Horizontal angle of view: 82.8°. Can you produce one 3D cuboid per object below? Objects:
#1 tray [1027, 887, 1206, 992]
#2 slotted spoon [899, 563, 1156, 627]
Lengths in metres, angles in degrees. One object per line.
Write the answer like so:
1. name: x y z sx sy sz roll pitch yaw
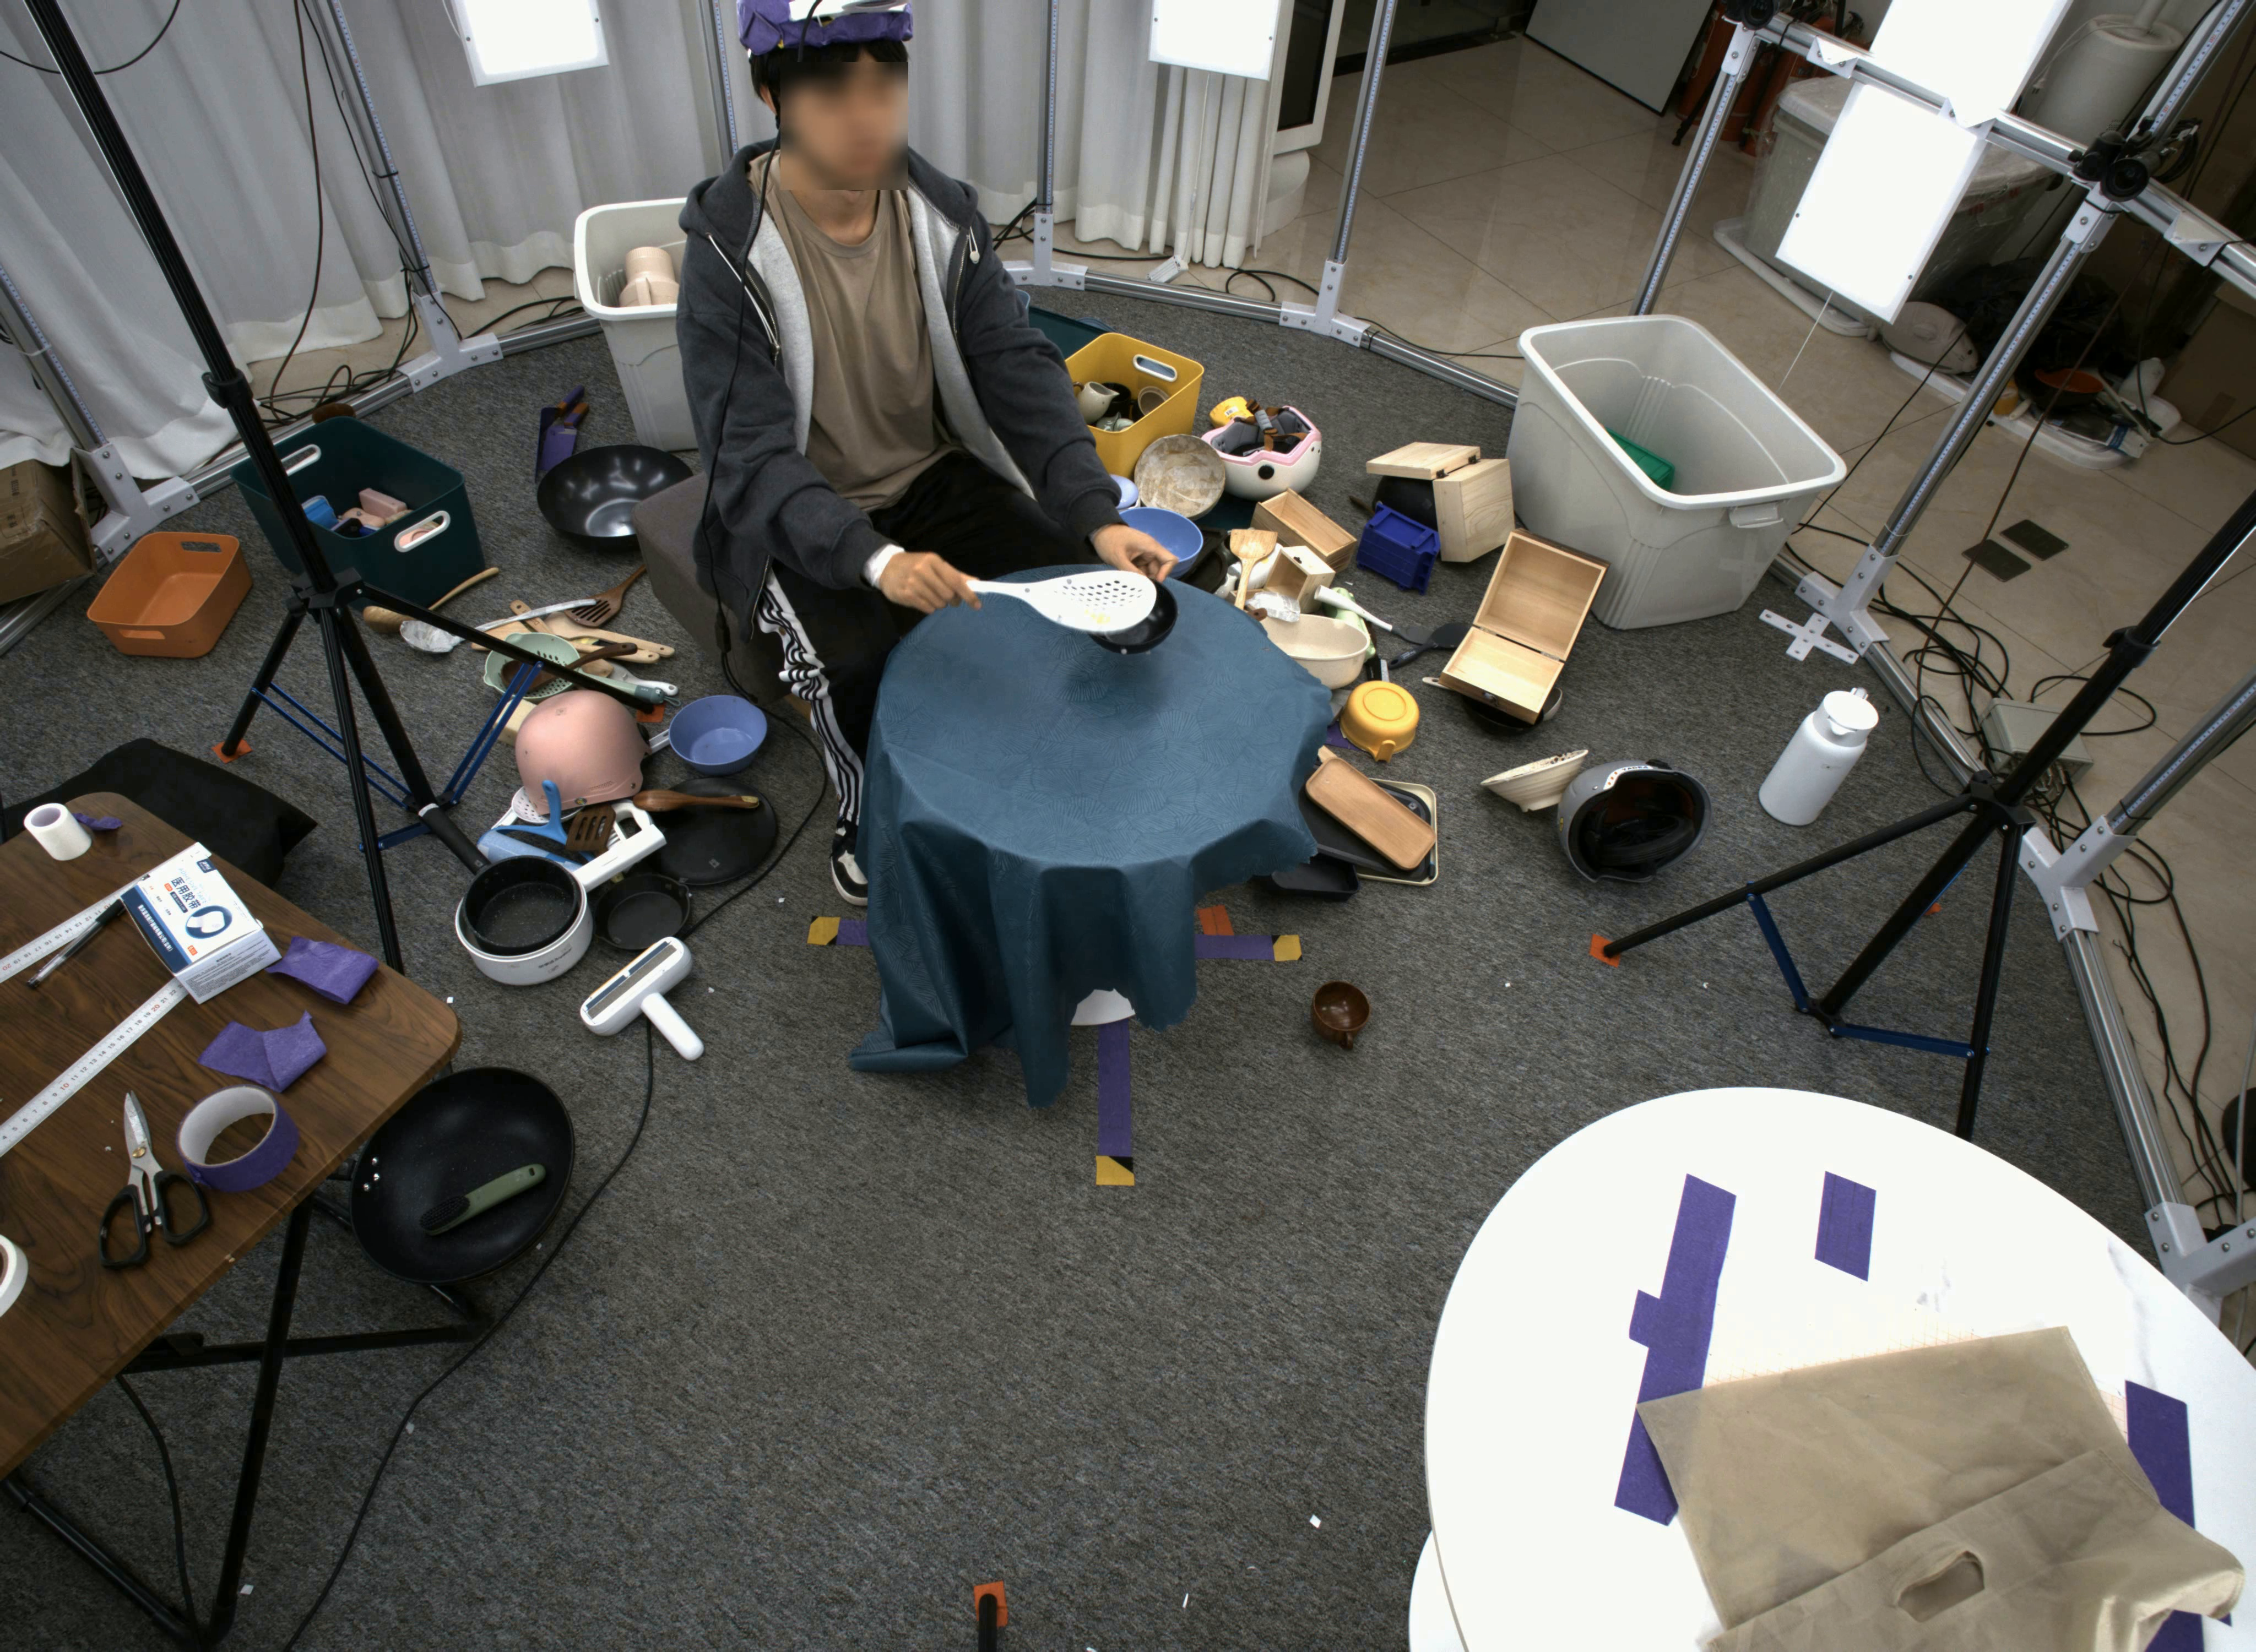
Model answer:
1. tray: -0.019 0.194 2.202 0.300 0.027 0.196 3 49 -3
2. slotted spoon: -0.135 -0.305 1.695 0.349 0.049 0.140 8 42 11
